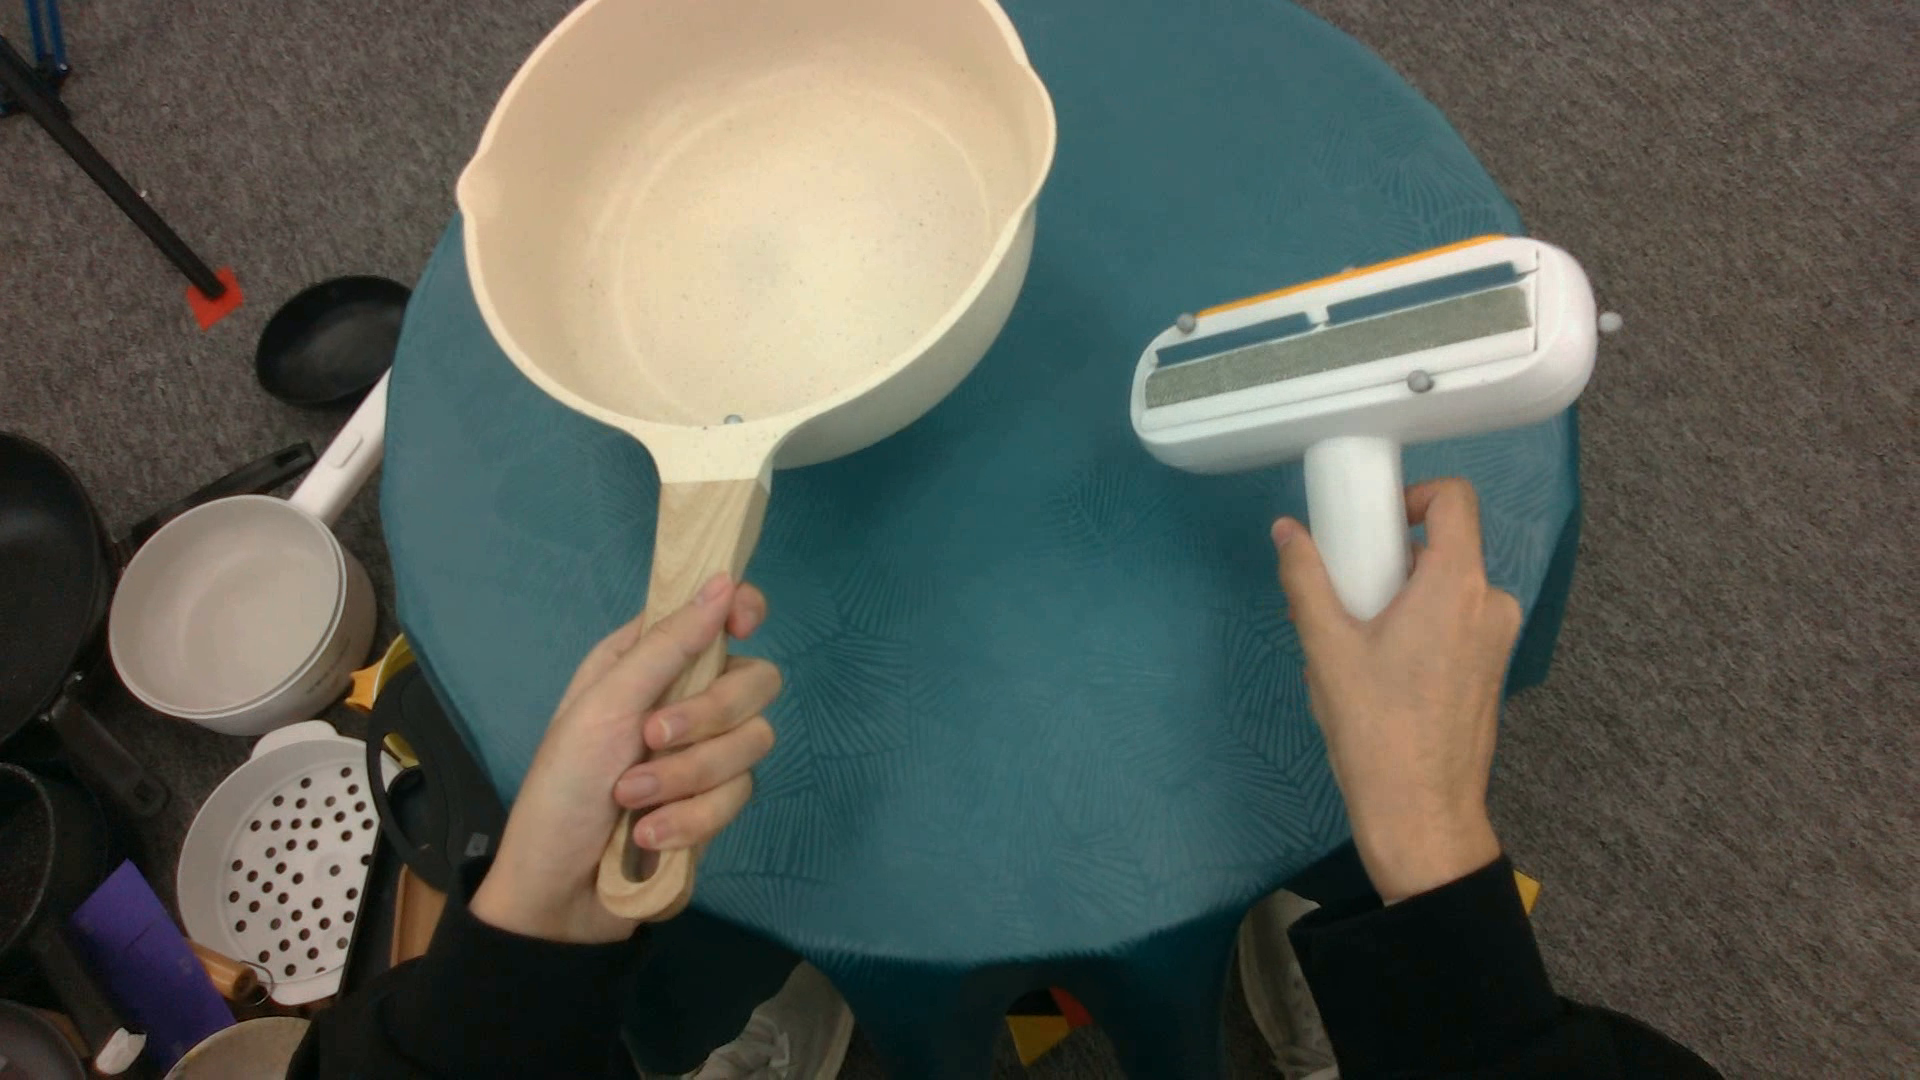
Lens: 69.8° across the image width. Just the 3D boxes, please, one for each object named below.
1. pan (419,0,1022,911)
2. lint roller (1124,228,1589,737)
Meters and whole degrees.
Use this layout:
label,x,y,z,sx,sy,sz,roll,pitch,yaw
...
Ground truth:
label,x,y,z,sx,sy,sz,roll,pitch,yaw
pan,-0.101,-0.066,0.578,0.263,0.102,0.436,-2,70,8
lint roller,0.154,-0.018,0.559,0.192,0.074,0.193,-3,77,37
